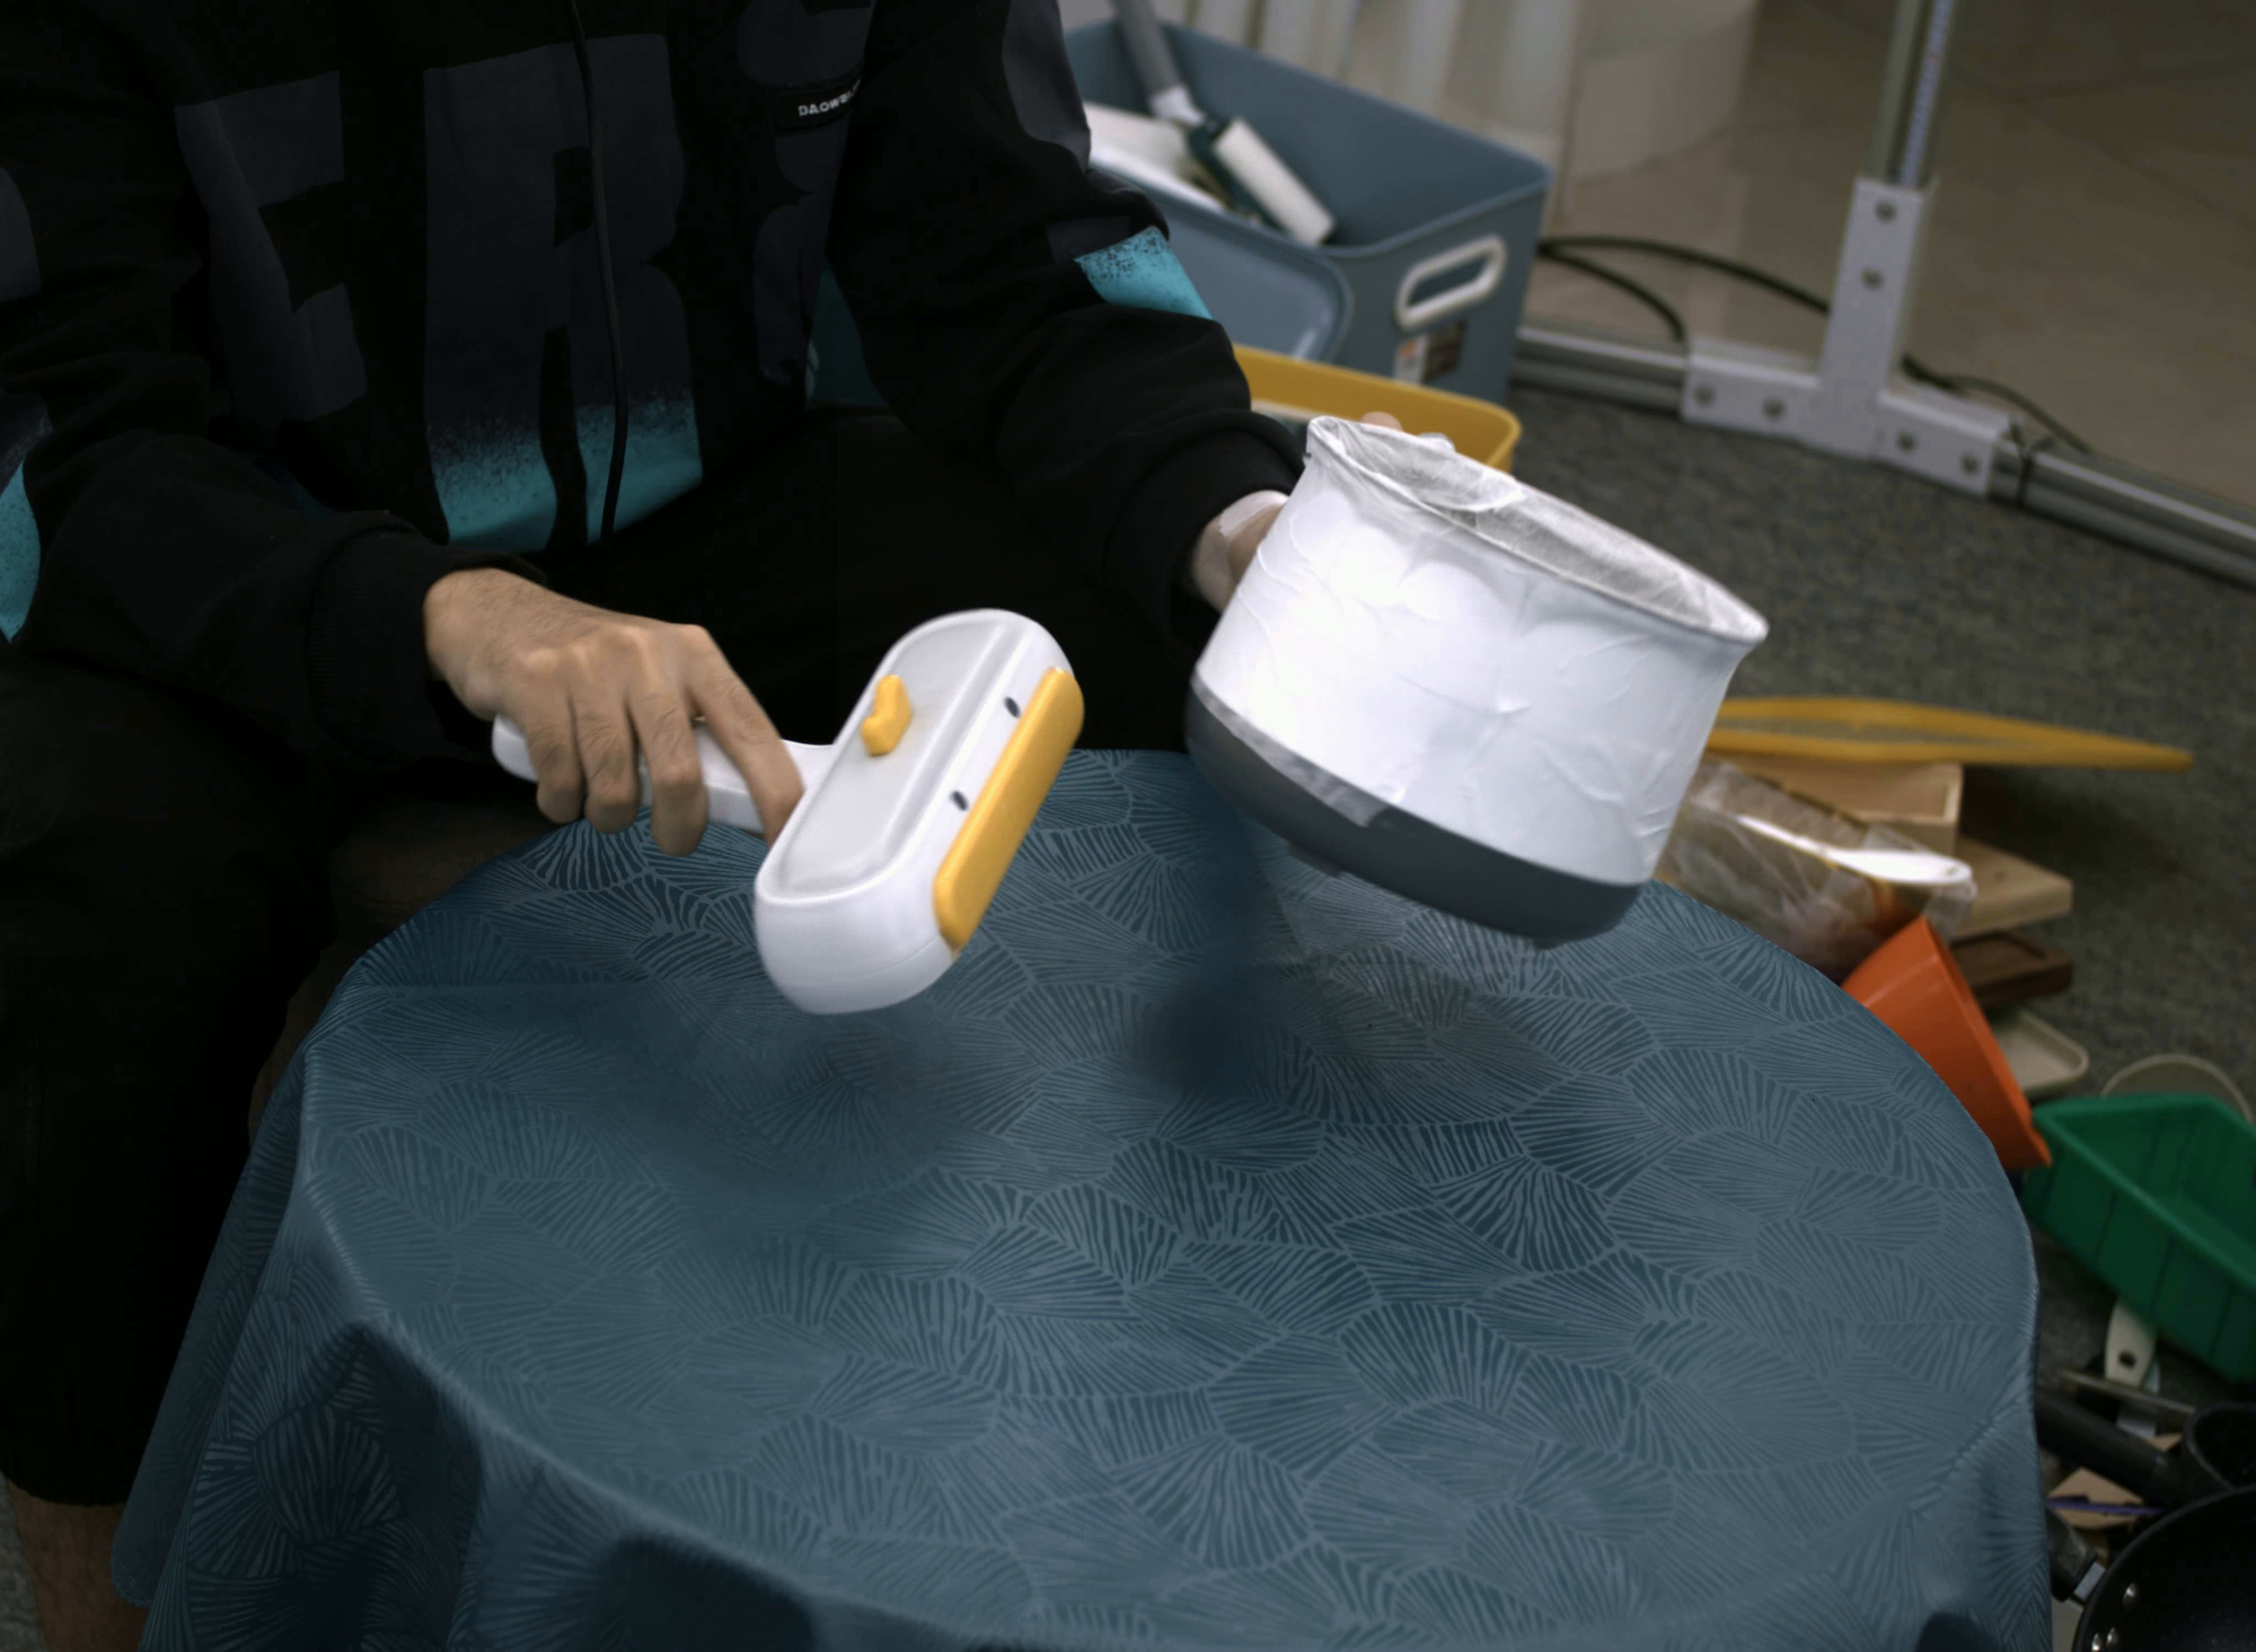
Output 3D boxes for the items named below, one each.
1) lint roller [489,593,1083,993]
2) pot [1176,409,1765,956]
[{"bbox_3d":[-0.125,-0.018,1.833,0.192,0.074,0.194,0,37,16],"label":"lint roller"},{"bbox_3d":[0.107,-0.058,1.893,0.177,0.136,0.235,23,12,-25],"label":"pot"}]
